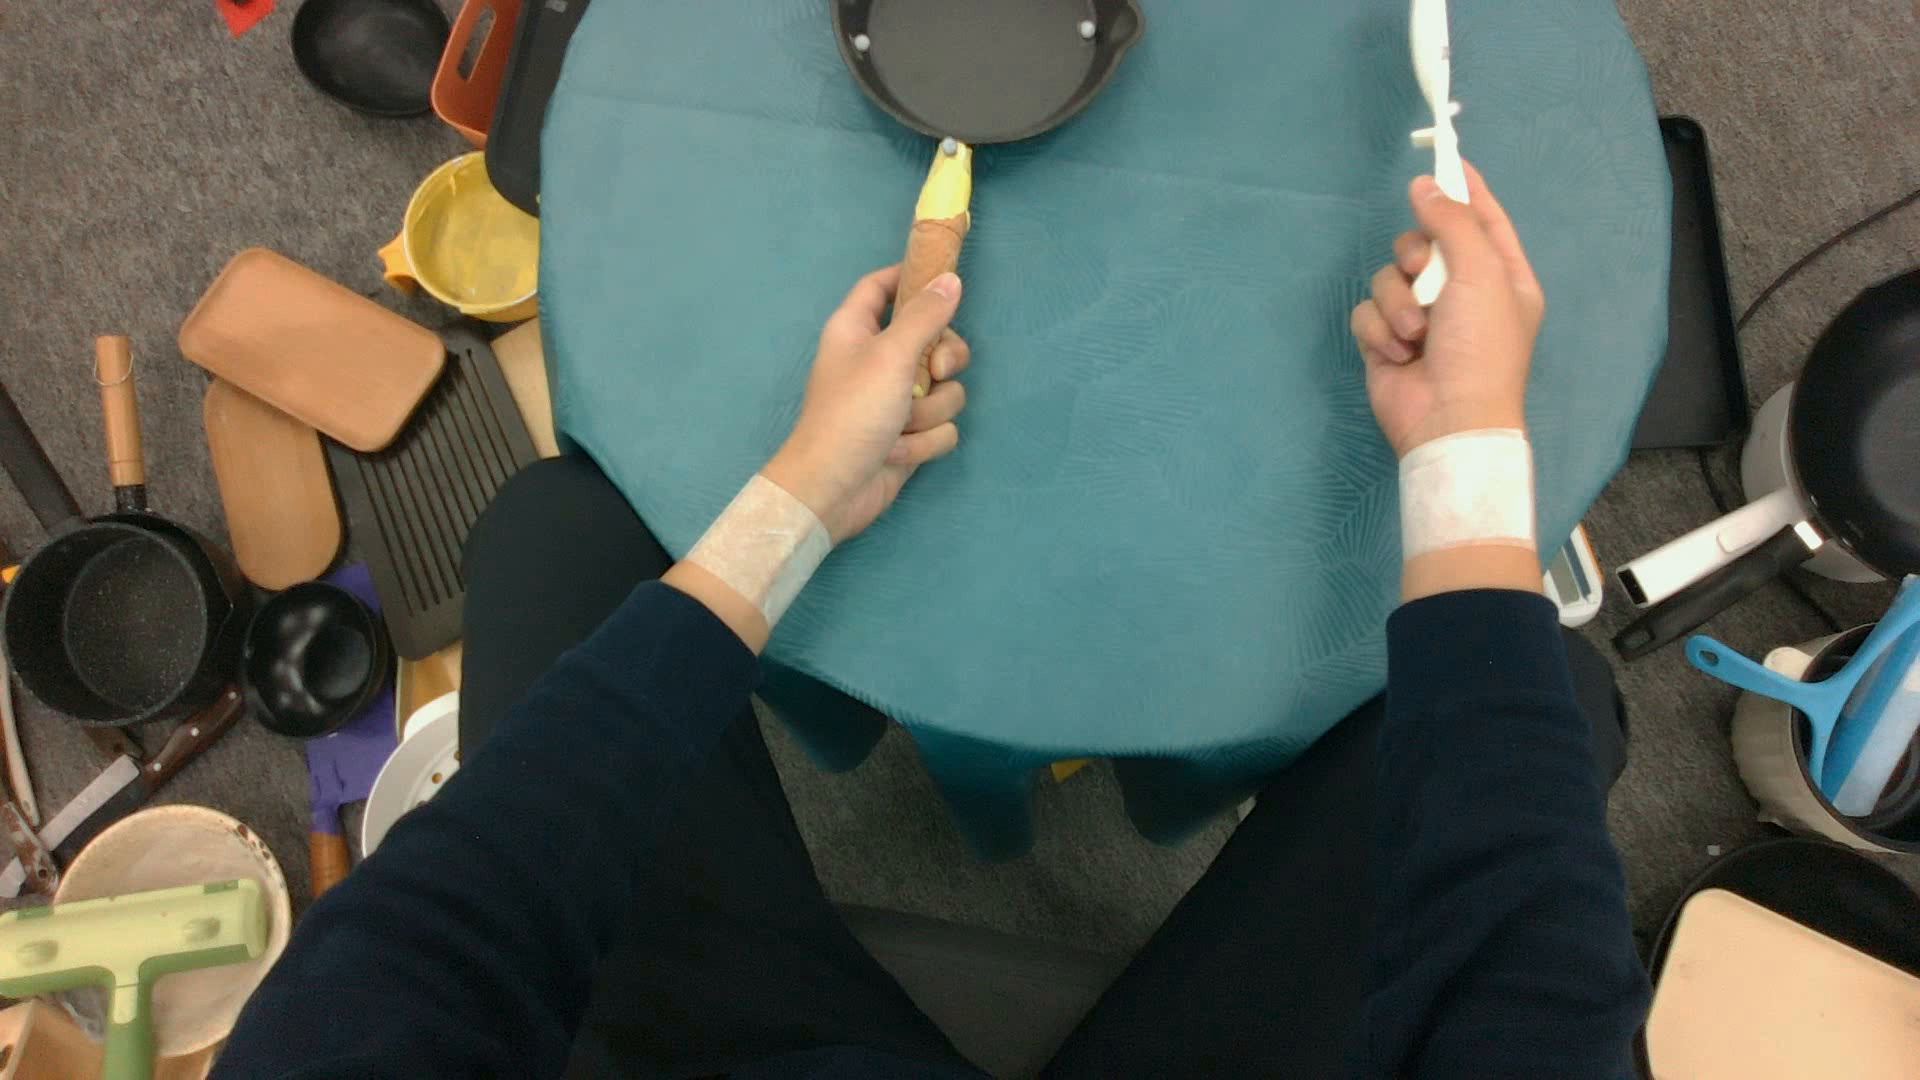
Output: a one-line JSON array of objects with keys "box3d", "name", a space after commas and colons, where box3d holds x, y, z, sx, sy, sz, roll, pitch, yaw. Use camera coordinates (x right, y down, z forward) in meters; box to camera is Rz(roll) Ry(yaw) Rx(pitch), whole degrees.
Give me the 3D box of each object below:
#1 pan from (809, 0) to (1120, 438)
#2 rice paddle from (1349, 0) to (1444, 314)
[{"box3d": [-0.017, -0.205, 0.708, 0.169, 0.049, 0.325, 12, 78, 2], "name": "pan"}, {"box3d": [0.215, -0.213, 0.683, 0.029, 0.069, 0.205, -11, 74, 35], "name": "rice paddle"}]
